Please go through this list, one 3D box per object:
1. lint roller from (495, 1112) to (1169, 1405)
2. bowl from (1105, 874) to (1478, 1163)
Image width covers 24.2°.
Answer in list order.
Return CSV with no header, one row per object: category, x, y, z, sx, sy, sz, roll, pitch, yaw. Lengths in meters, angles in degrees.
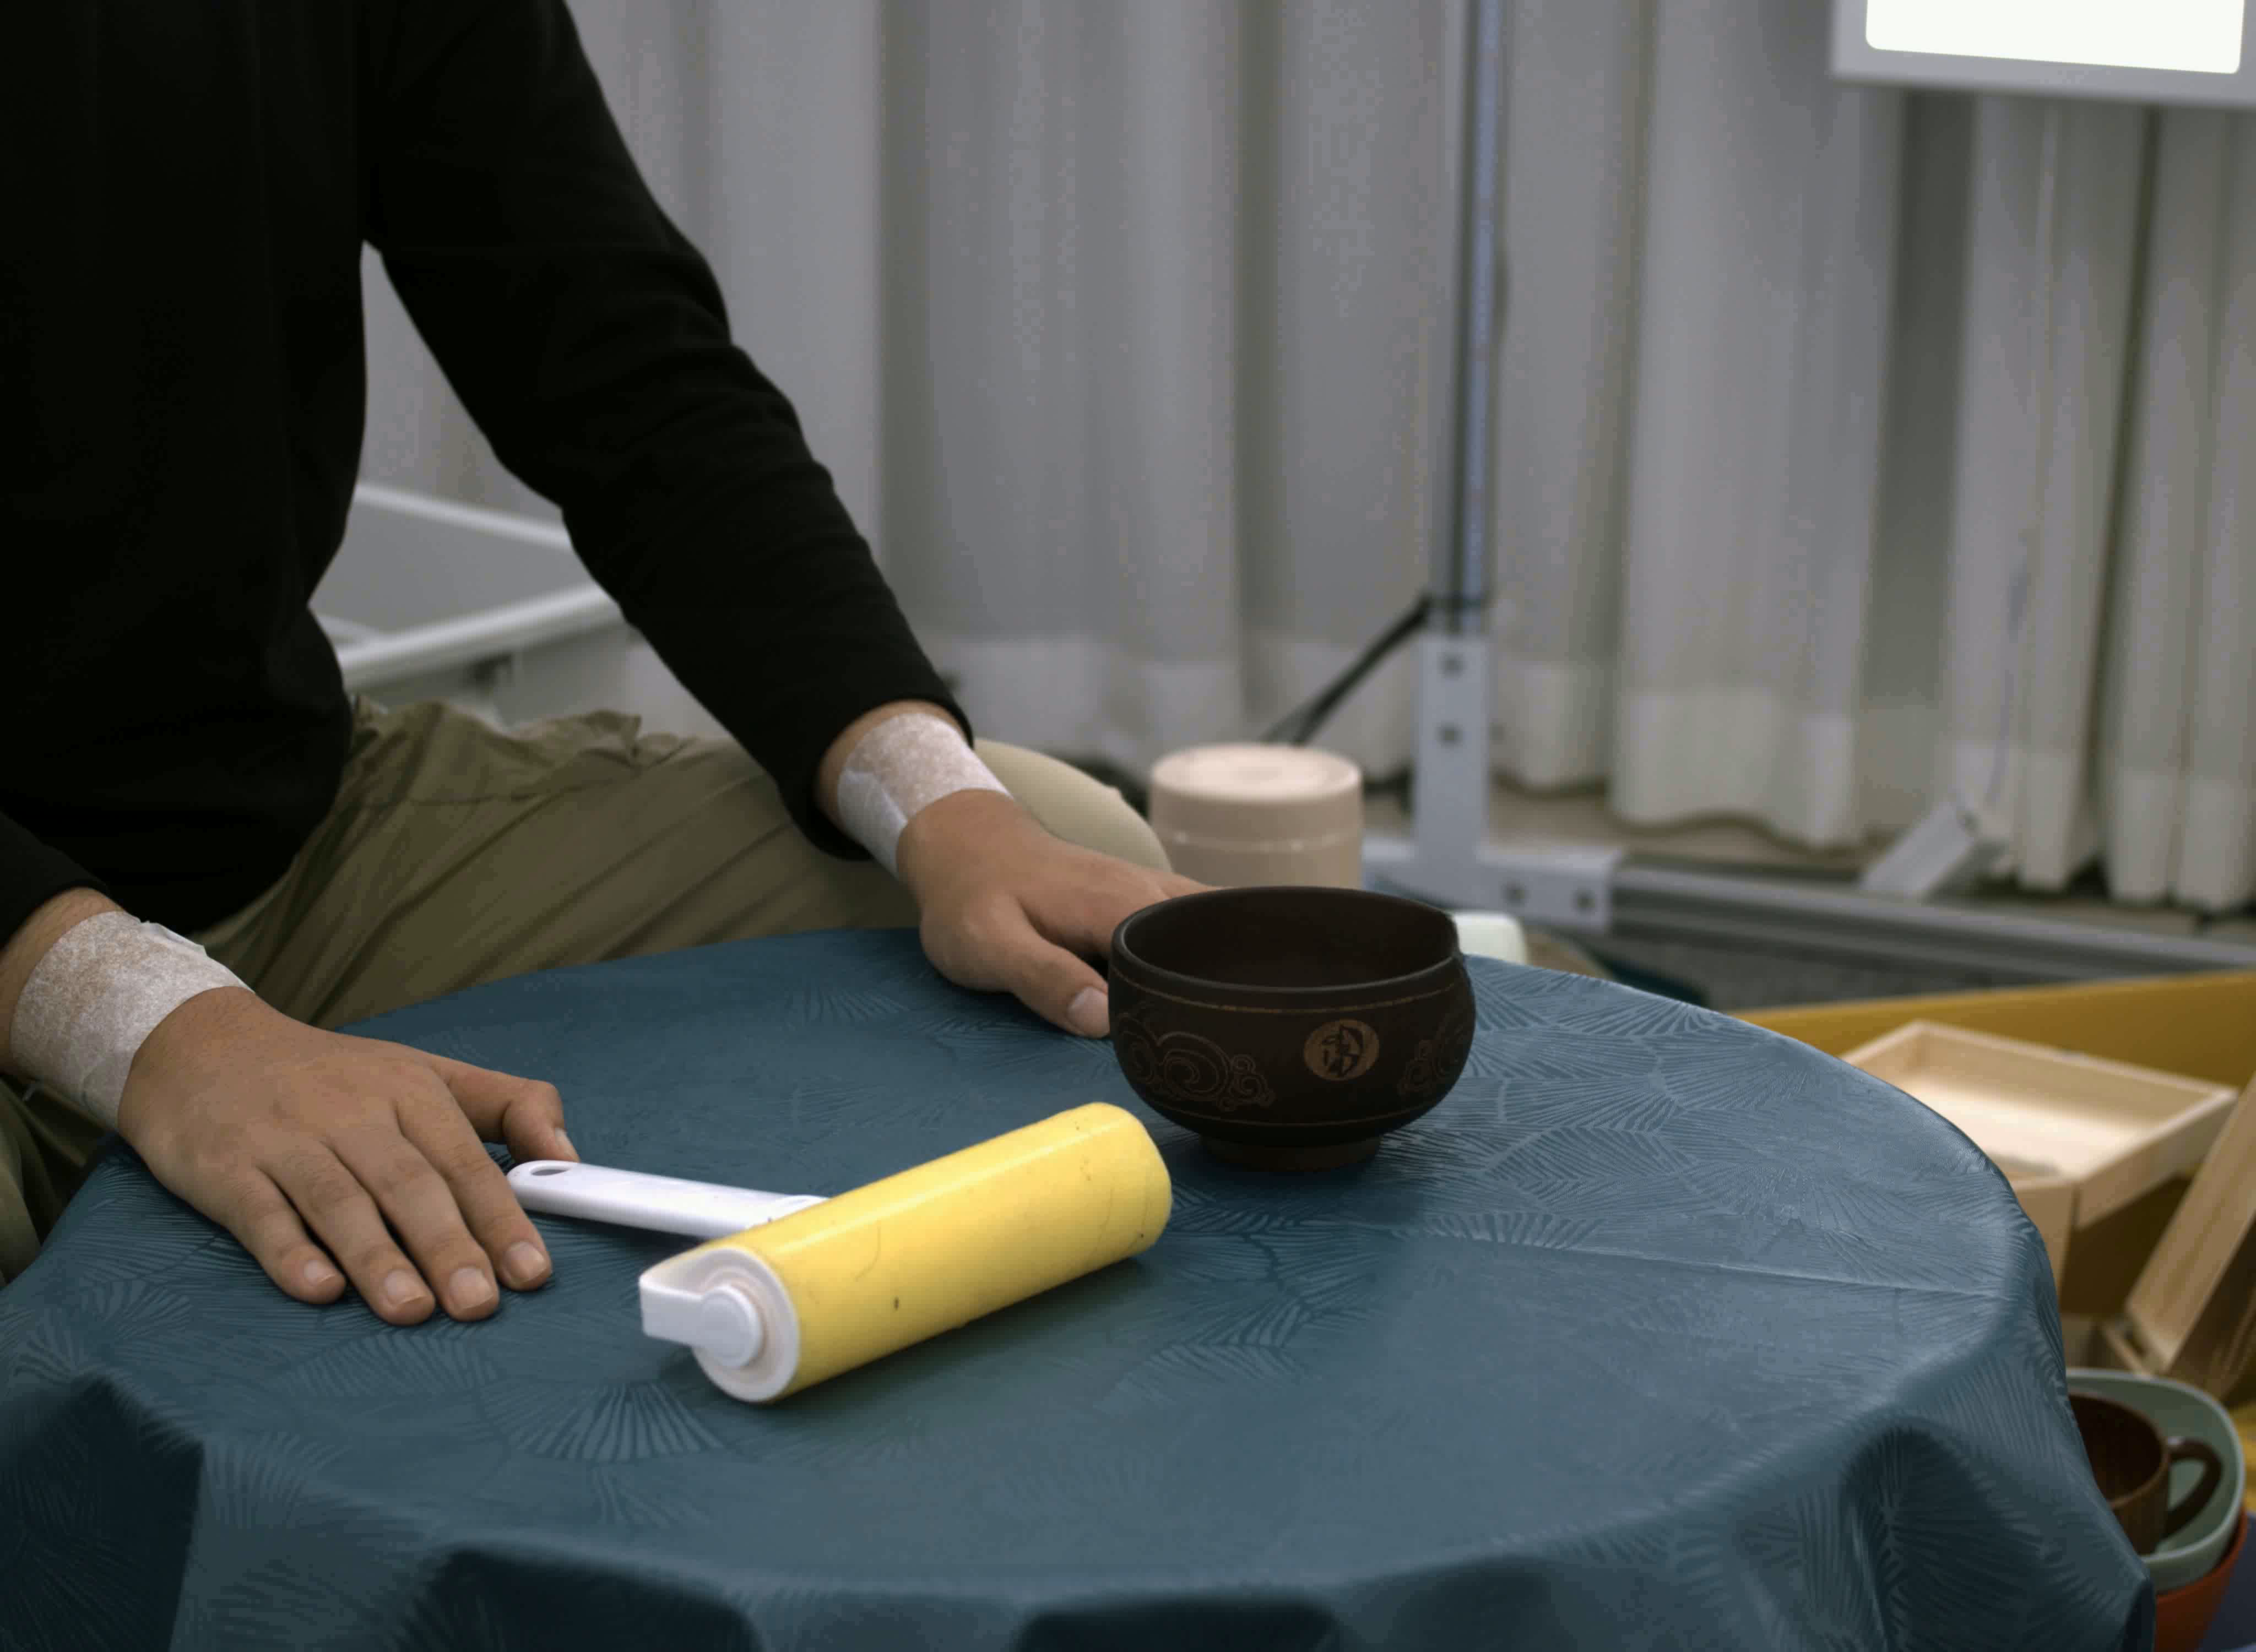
lint roller,-0.112,0.107,1.541,0.189,0.052,0.175,17,22,34
bowl,0.051,0.064,1.655,0.117,0.070,0.117,2,16,0
